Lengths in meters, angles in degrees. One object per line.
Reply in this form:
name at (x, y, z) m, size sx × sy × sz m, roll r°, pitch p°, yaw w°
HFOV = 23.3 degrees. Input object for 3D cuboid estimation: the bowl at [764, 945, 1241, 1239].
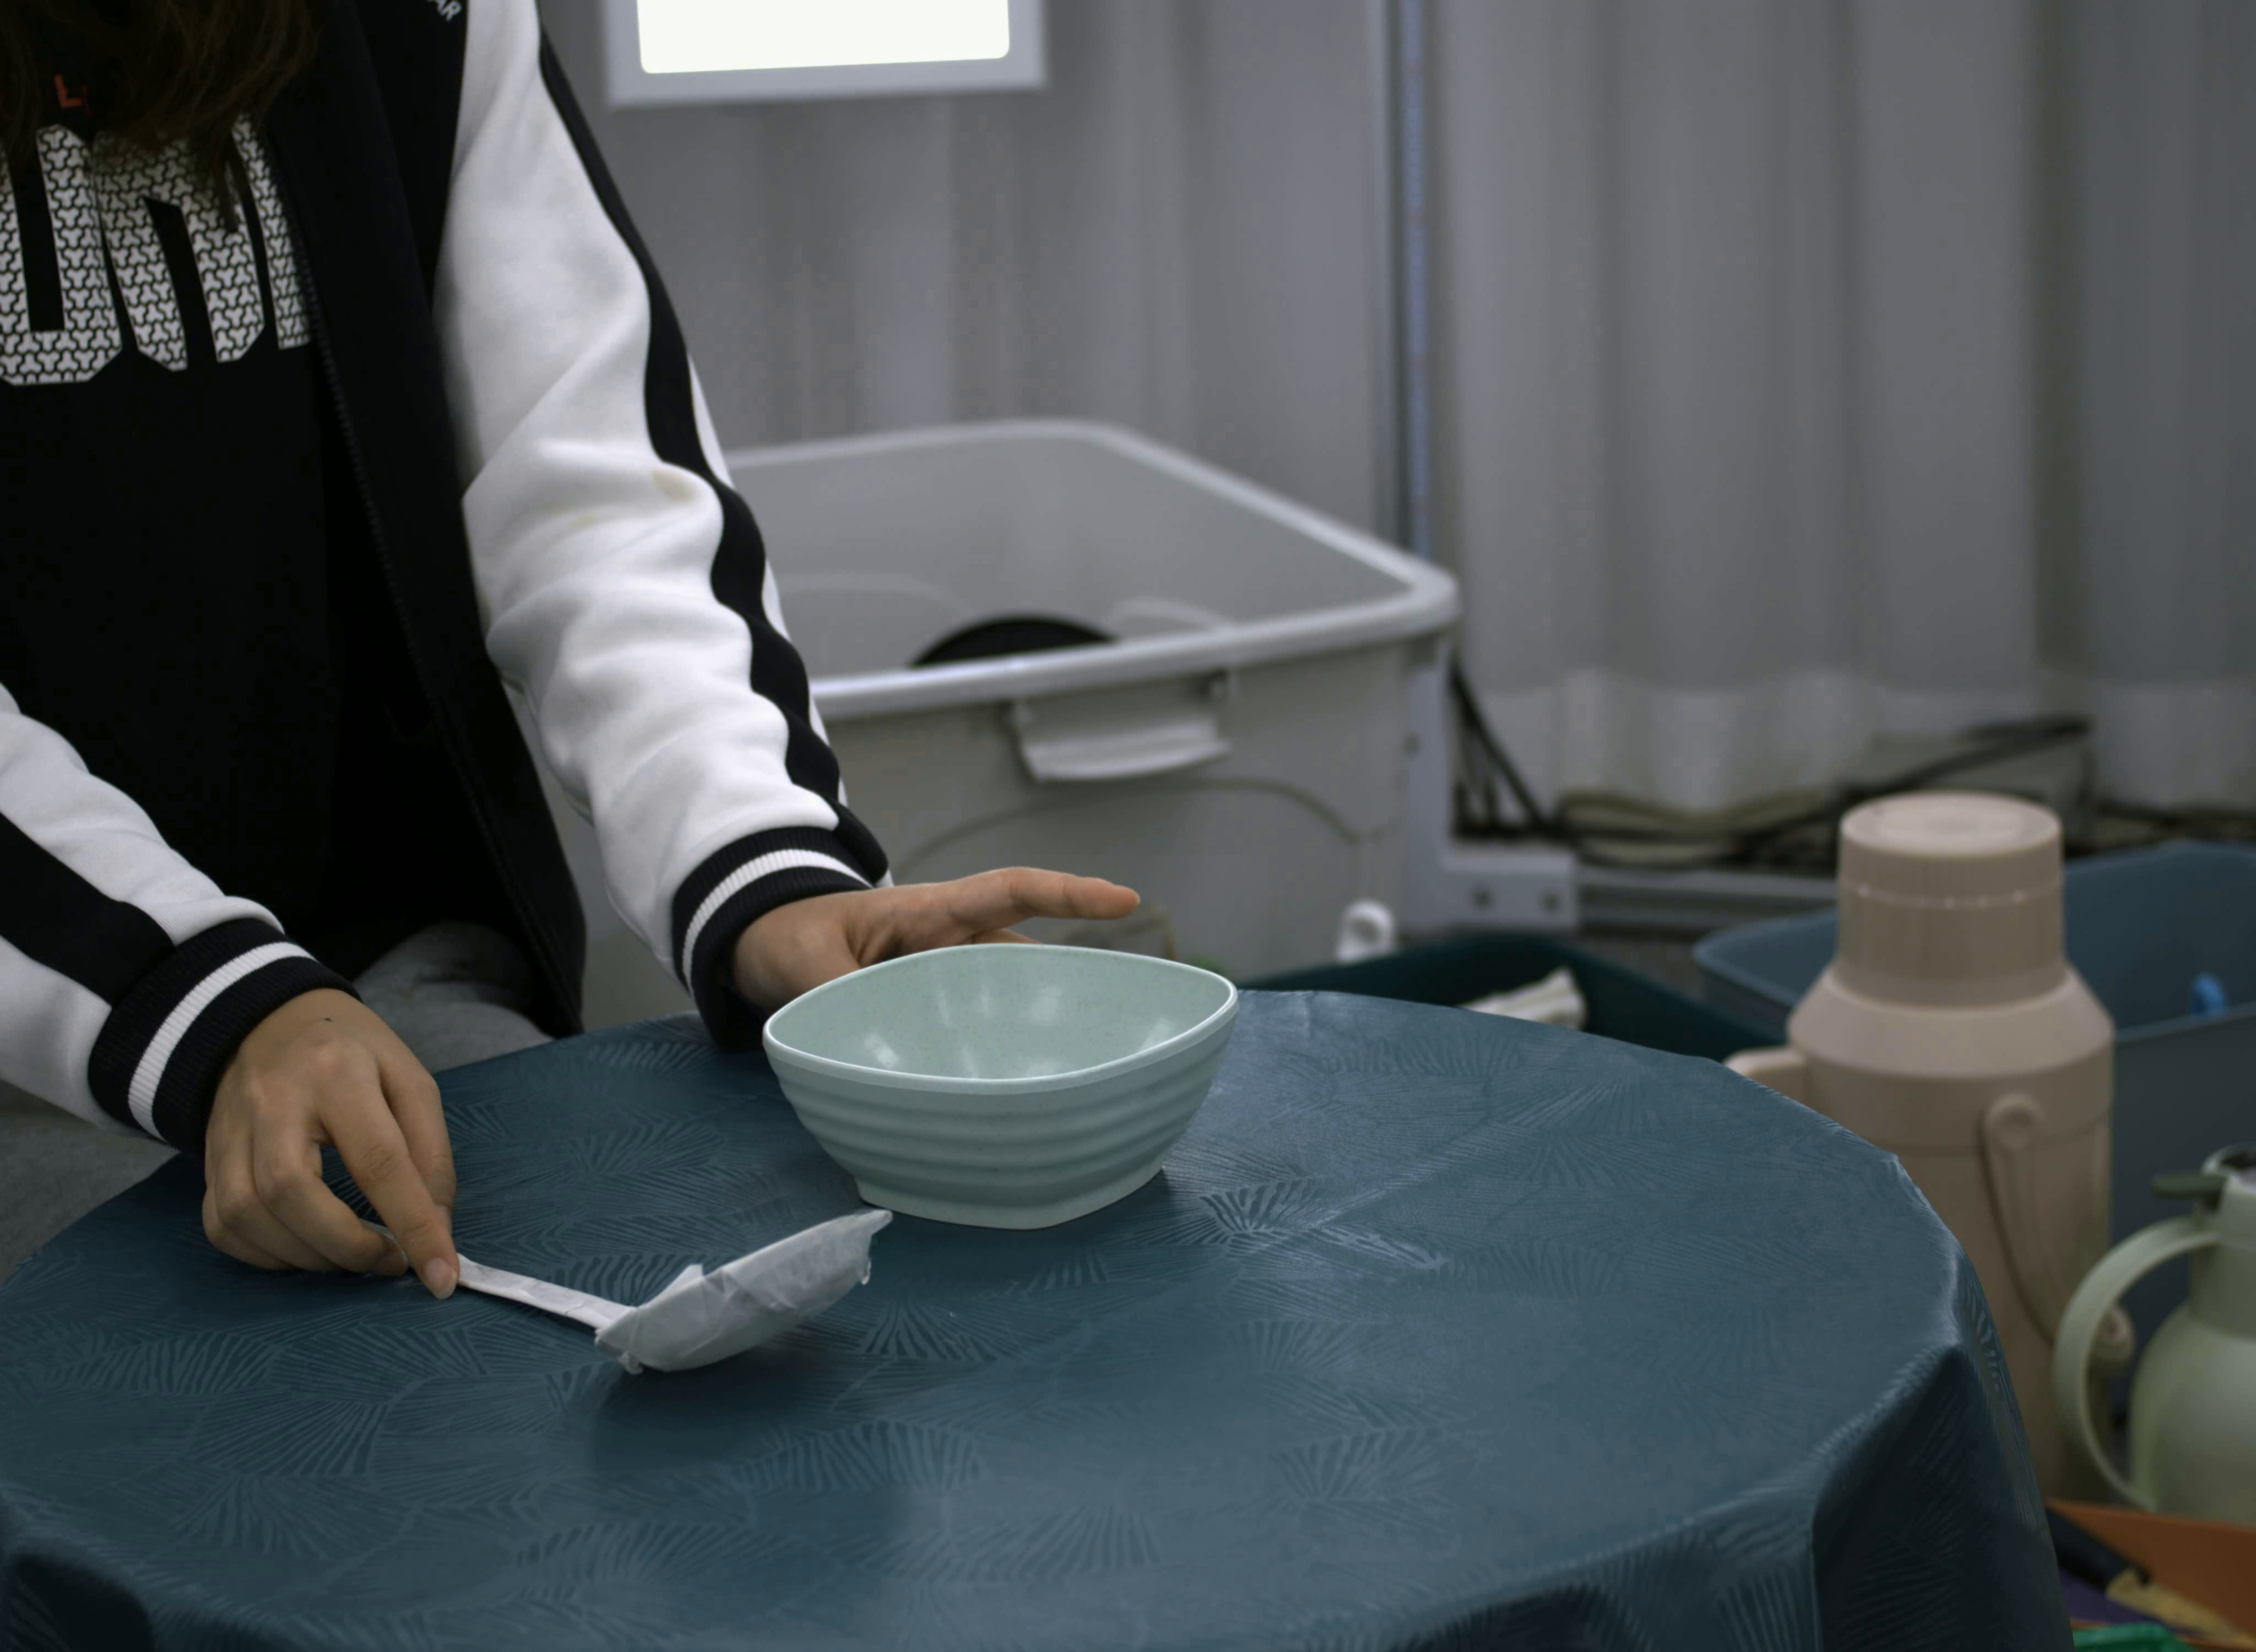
bowl at (-0.038, 0.087, 1.724) m, size 0.151 × 0.058 × 0.152 m, roll -3°, pitch 15°, yaw 1°

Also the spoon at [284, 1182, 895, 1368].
spoon at (-0.172, 0.114, 1.641) m, size 0.100 × 0.059 × 0.279 m, roll -8°, pitch 15°, yaw -39°
